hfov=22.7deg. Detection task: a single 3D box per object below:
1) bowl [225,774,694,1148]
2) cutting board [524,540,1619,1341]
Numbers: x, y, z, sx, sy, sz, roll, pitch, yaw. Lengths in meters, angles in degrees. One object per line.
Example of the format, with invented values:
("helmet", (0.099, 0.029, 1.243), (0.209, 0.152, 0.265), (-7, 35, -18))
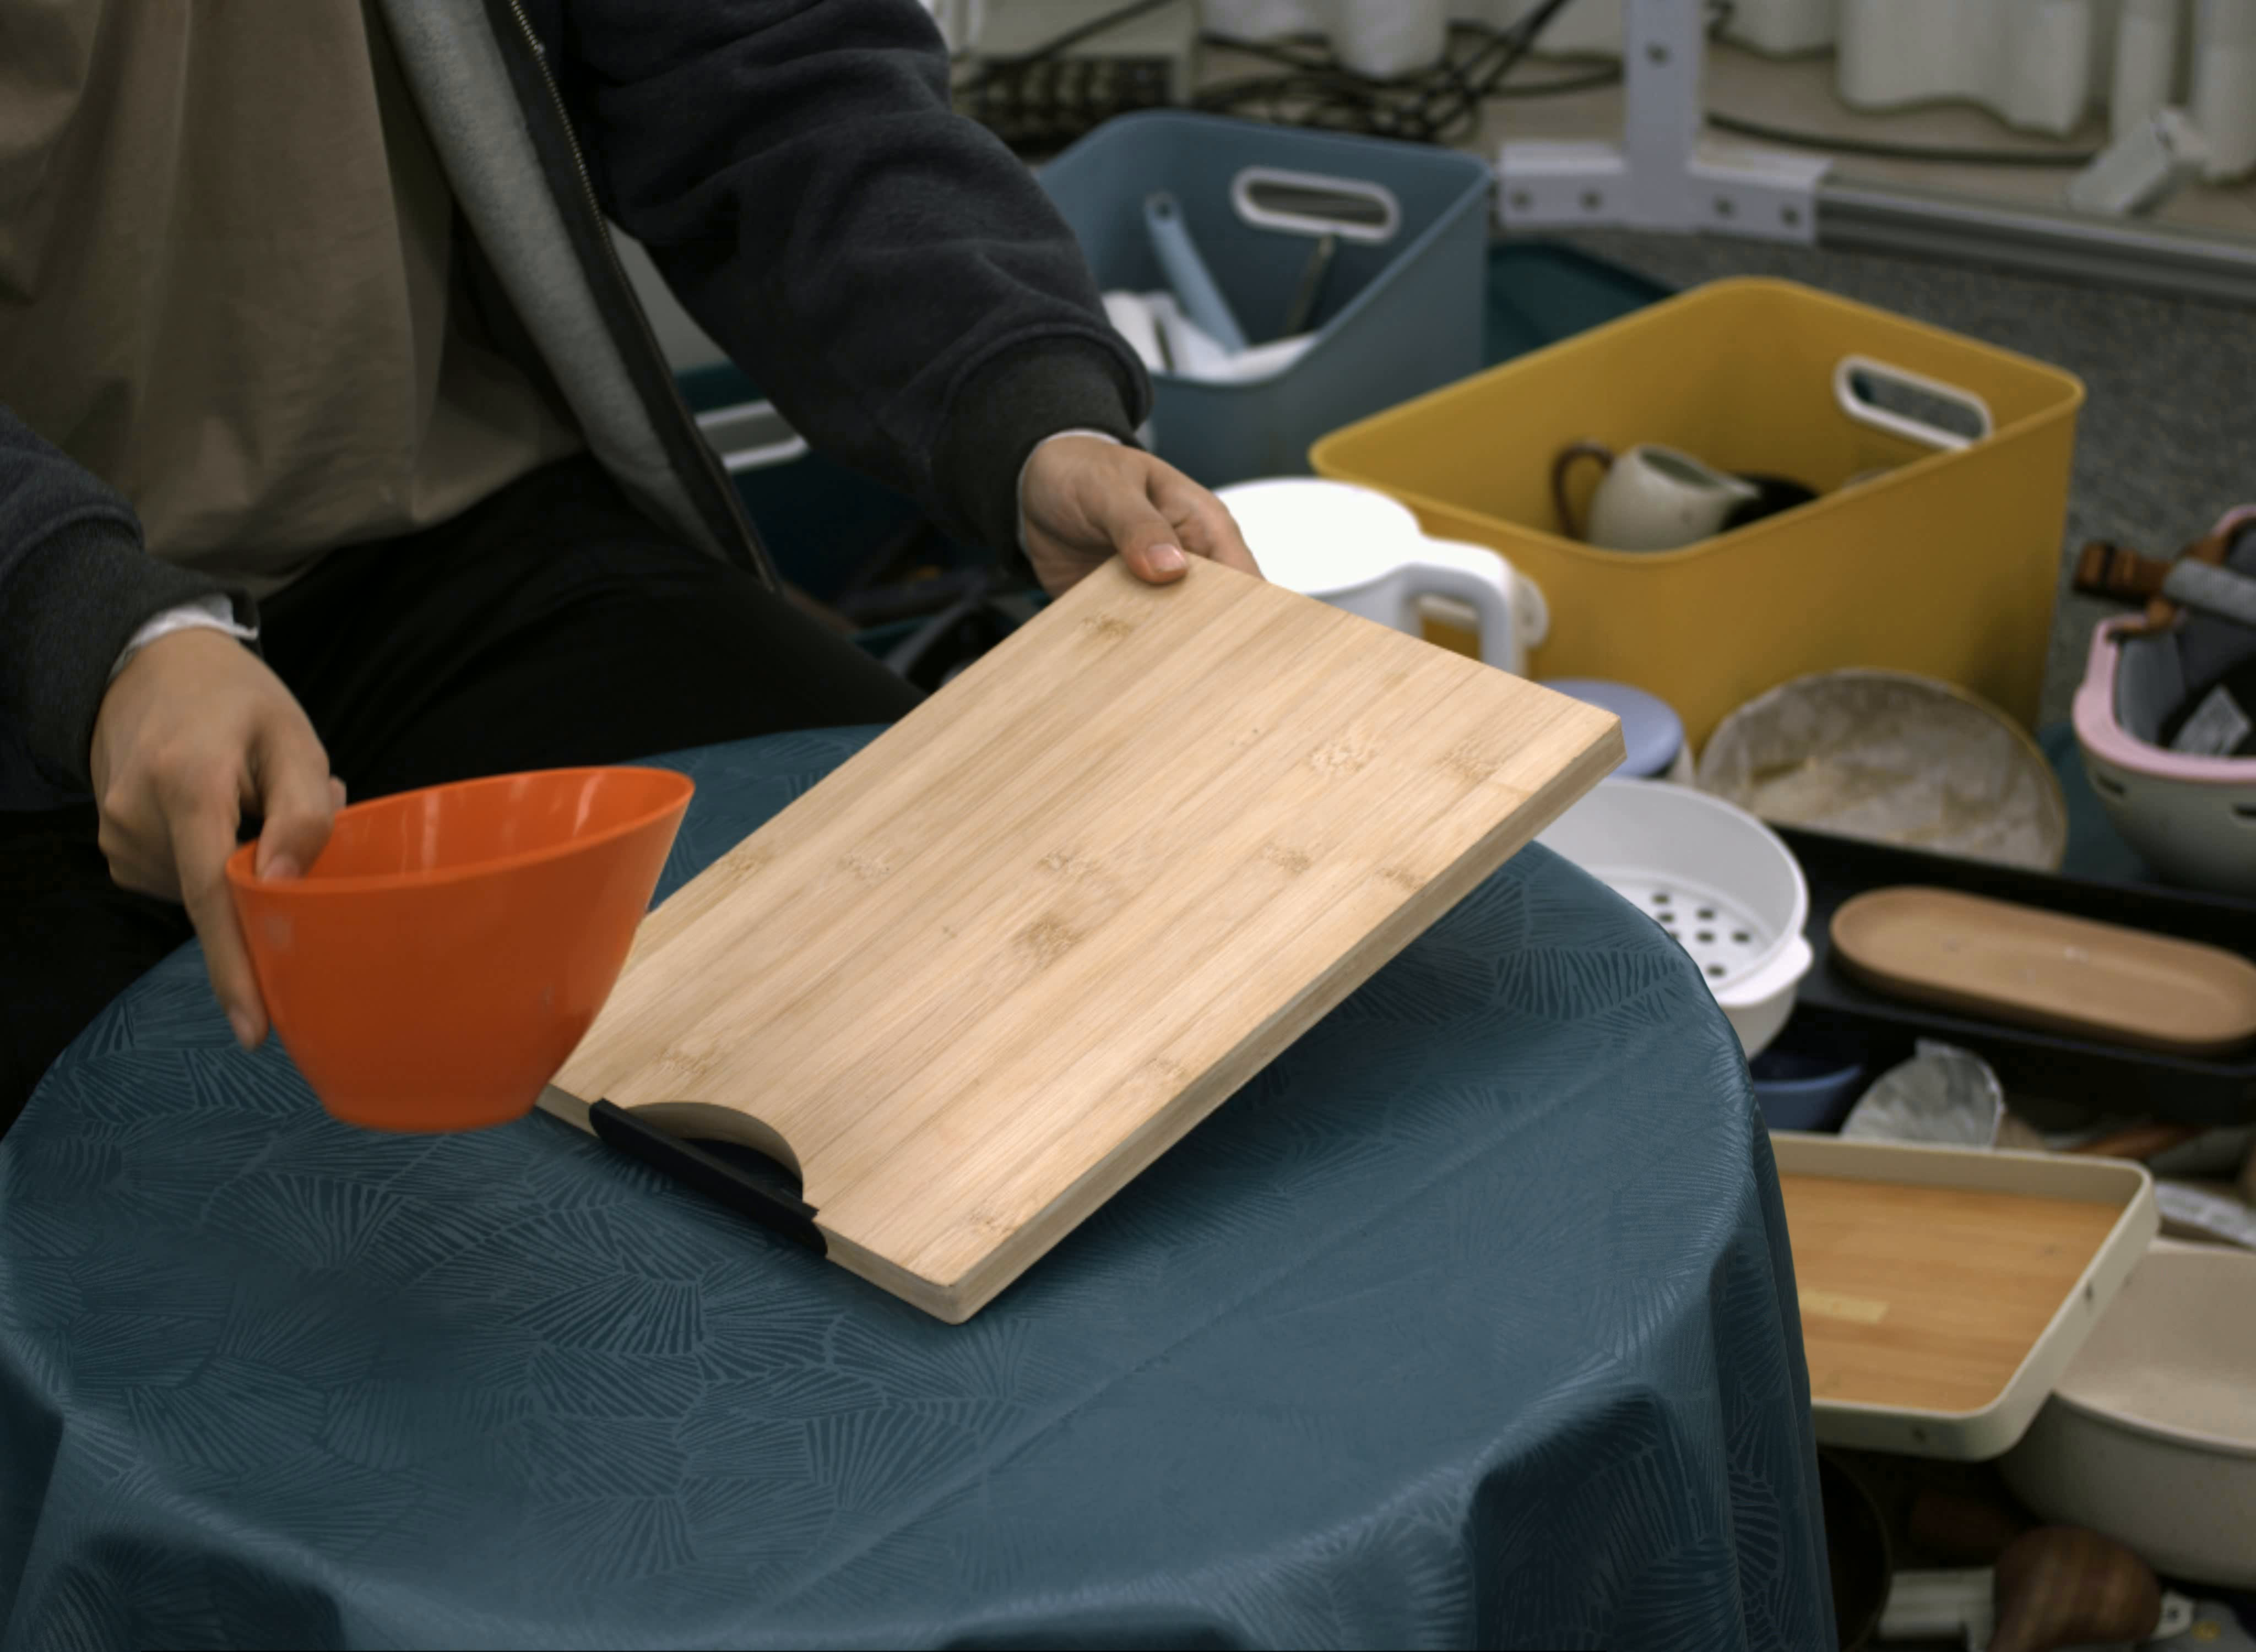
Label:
("bowl", (-0.210, 0.044, 1.774), (0.147, 0.104, 0.149), (1, 14, 0))
("cutting board", (-0.029, 0.030, 1.948), (0.250, 0.023, 0.353), (21, 48, 40))
